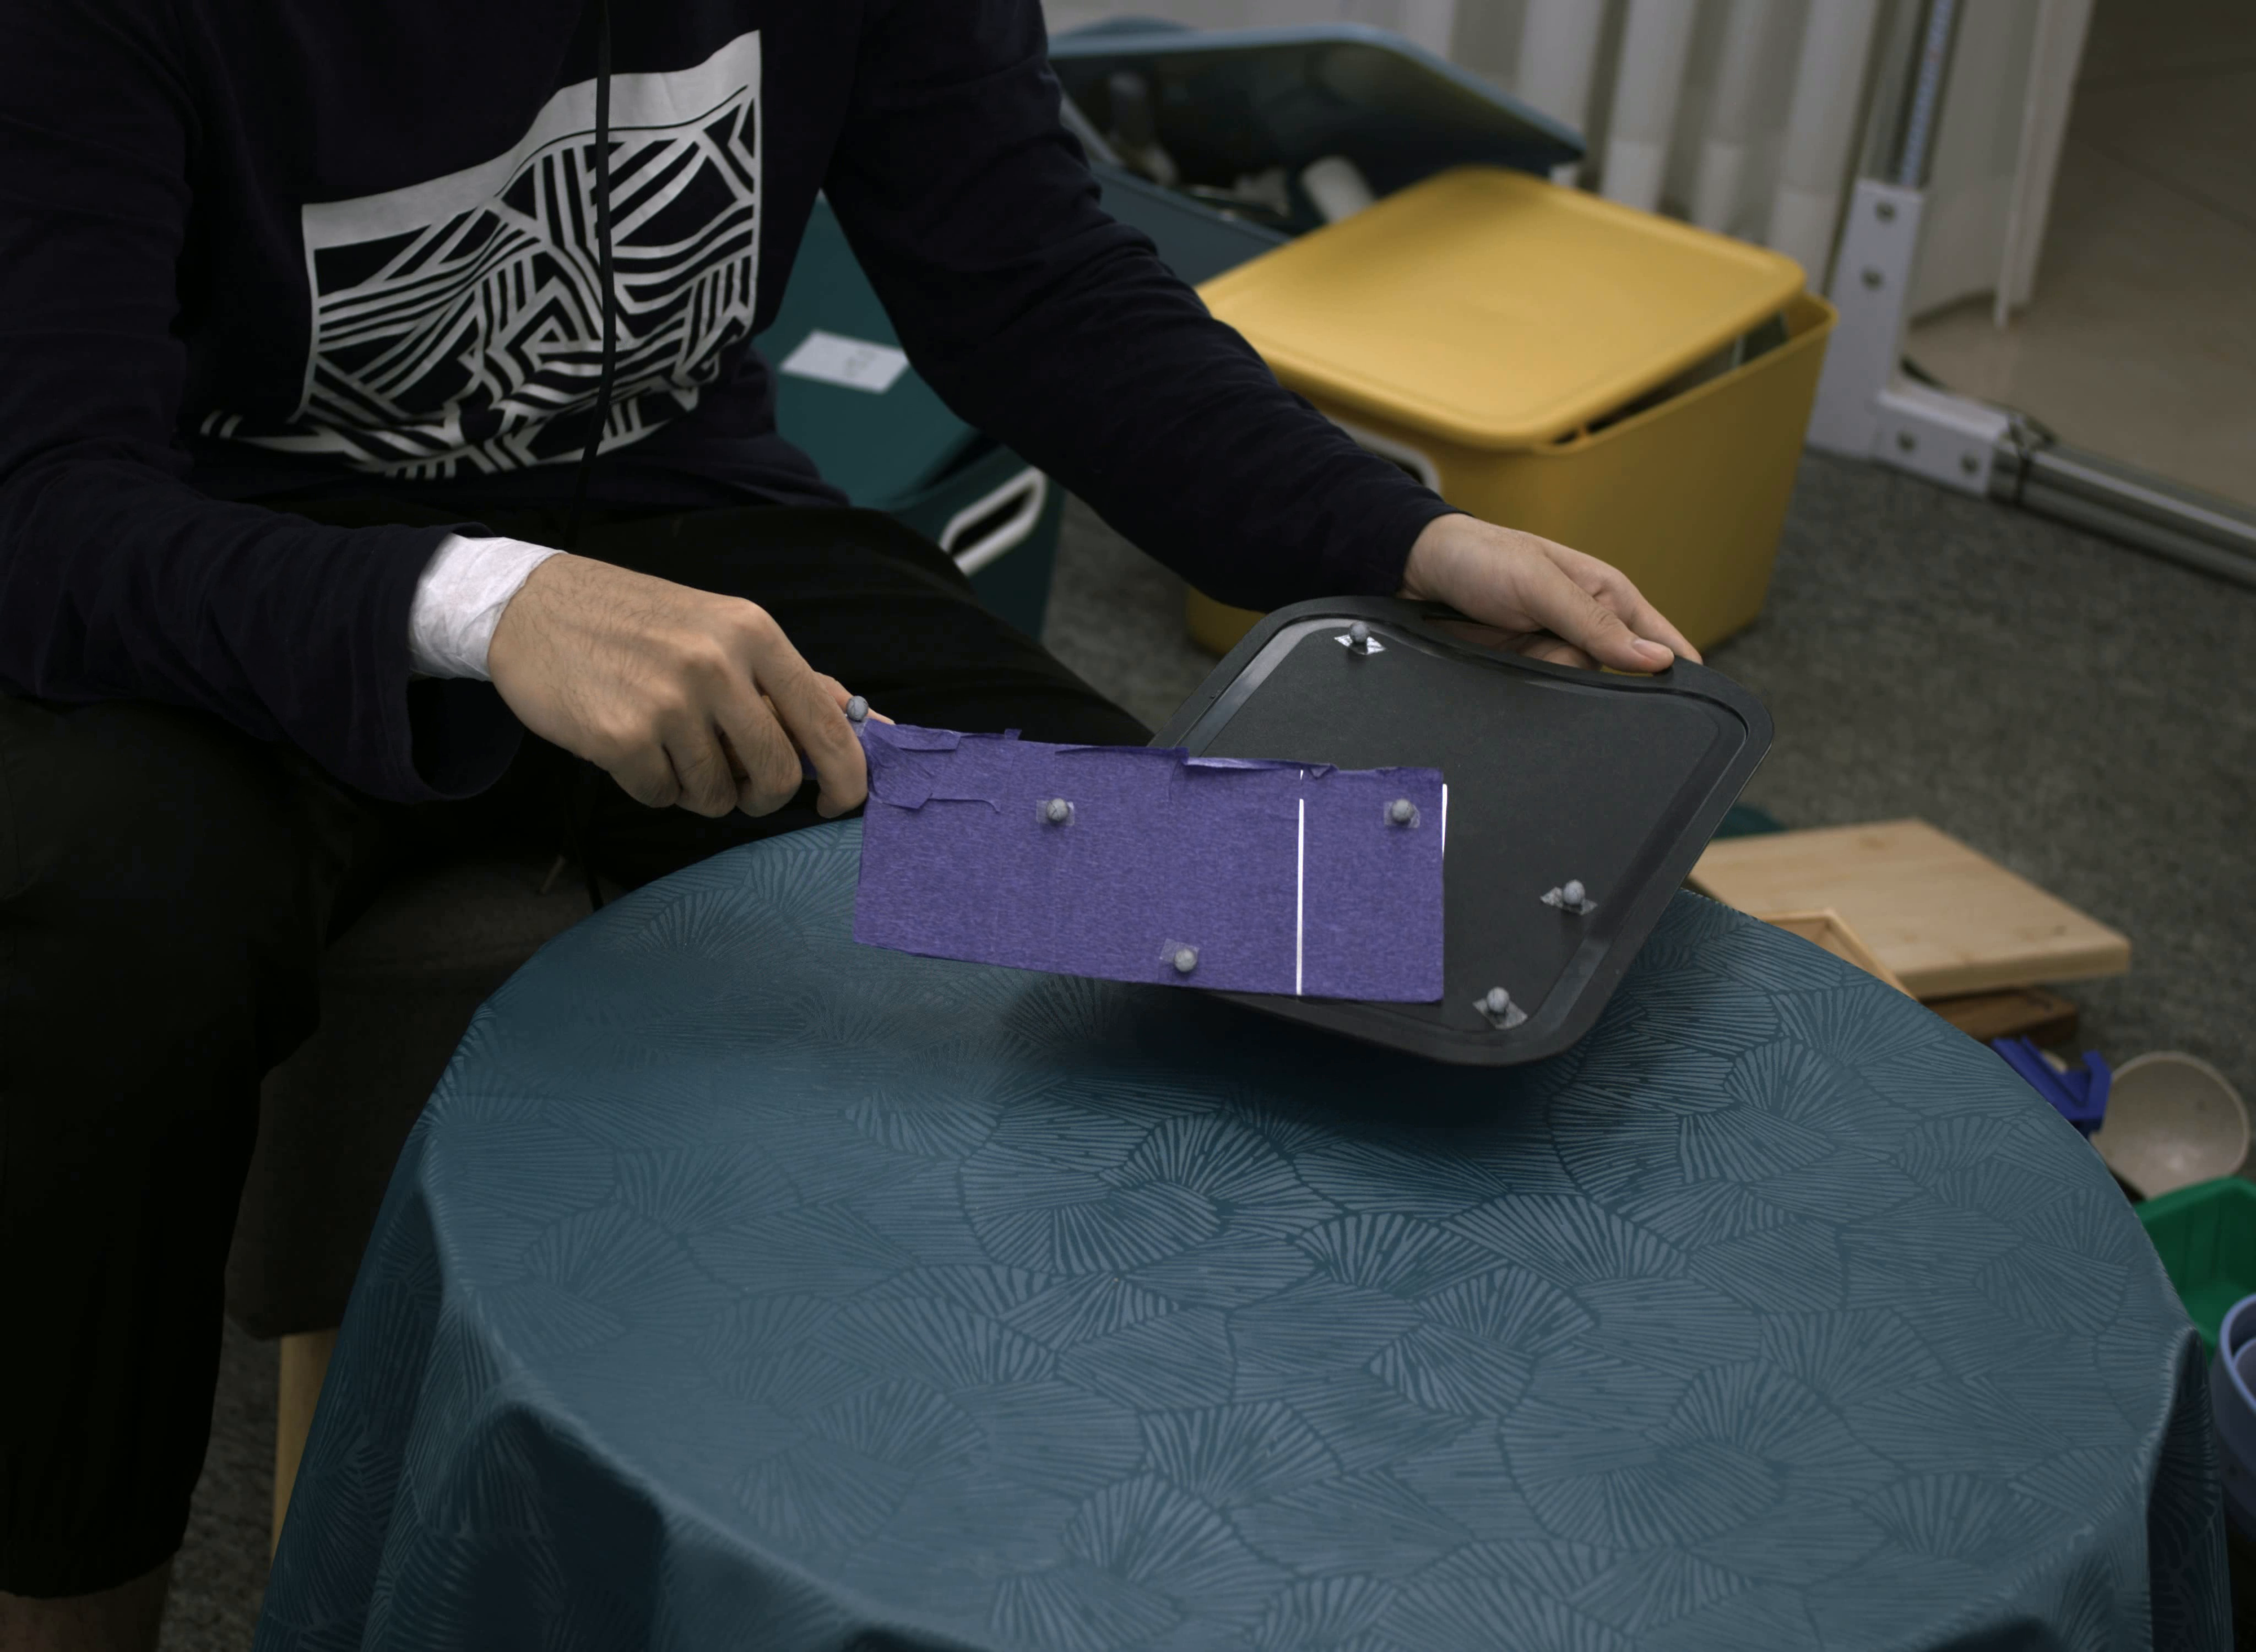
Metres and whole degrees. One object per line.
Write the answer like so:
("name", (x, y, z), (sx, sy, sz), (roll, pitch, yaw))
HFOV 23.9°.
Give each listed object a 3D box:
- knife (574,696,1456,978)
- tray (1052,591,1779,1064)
("knife", (-0.041, 0.004, 1.868), (0.314, 0.032, 0.104), (4, 61, 0))
("tray", (0.110, -0.011, 1.976), (0.212, 0.010, 0.326), (11, 33, 21))
